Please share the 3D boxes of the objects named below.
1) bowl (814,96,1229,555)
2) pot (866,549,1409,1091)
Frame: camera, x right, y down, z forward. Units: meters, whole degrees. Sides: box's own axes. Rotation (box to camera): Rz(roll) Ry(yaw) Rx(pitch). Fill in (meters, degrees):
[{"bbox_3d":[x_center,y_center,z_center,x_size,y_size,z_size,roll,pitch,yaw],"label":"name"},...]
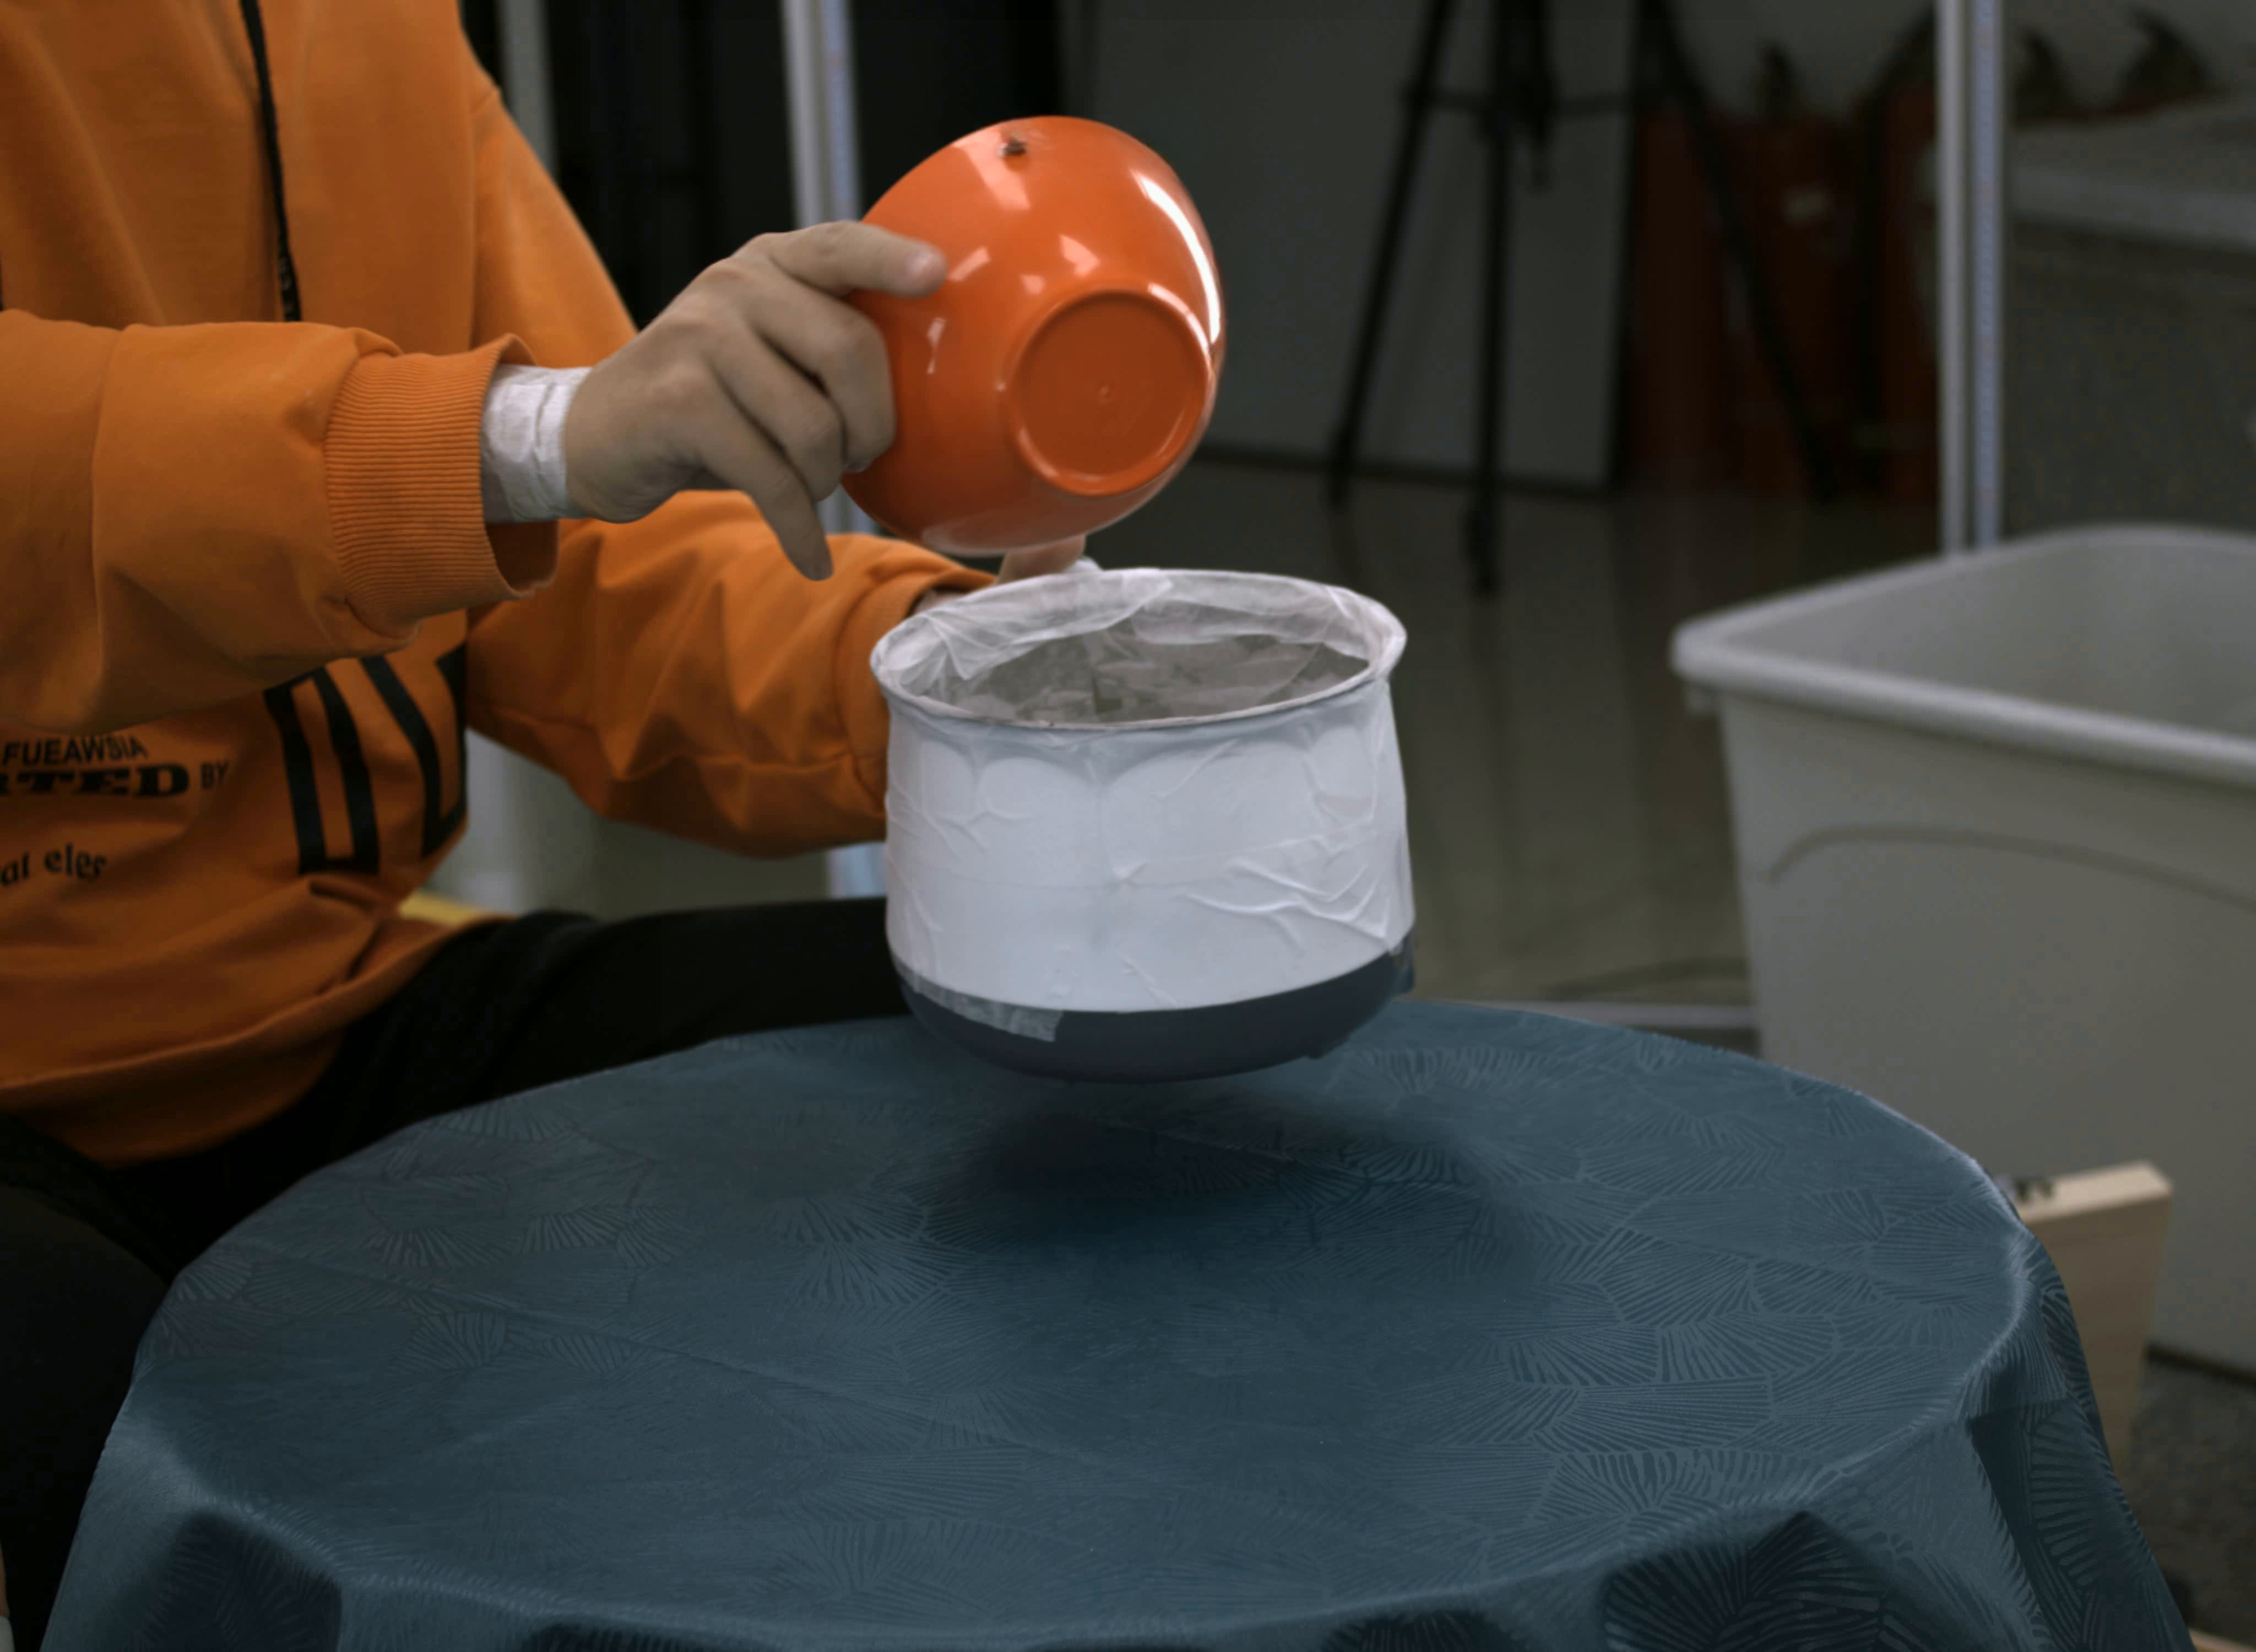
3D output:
[{"bbox_3d":[-0.018,-0.146,1.672,0.145,0.149,0.106,-9,19,-23],"label":"bowl"},{"bbox_3d":[-0.002,-0.008,1.805,0.175,0.138,0.235,-7,18,-12],"label":"pot"}]
